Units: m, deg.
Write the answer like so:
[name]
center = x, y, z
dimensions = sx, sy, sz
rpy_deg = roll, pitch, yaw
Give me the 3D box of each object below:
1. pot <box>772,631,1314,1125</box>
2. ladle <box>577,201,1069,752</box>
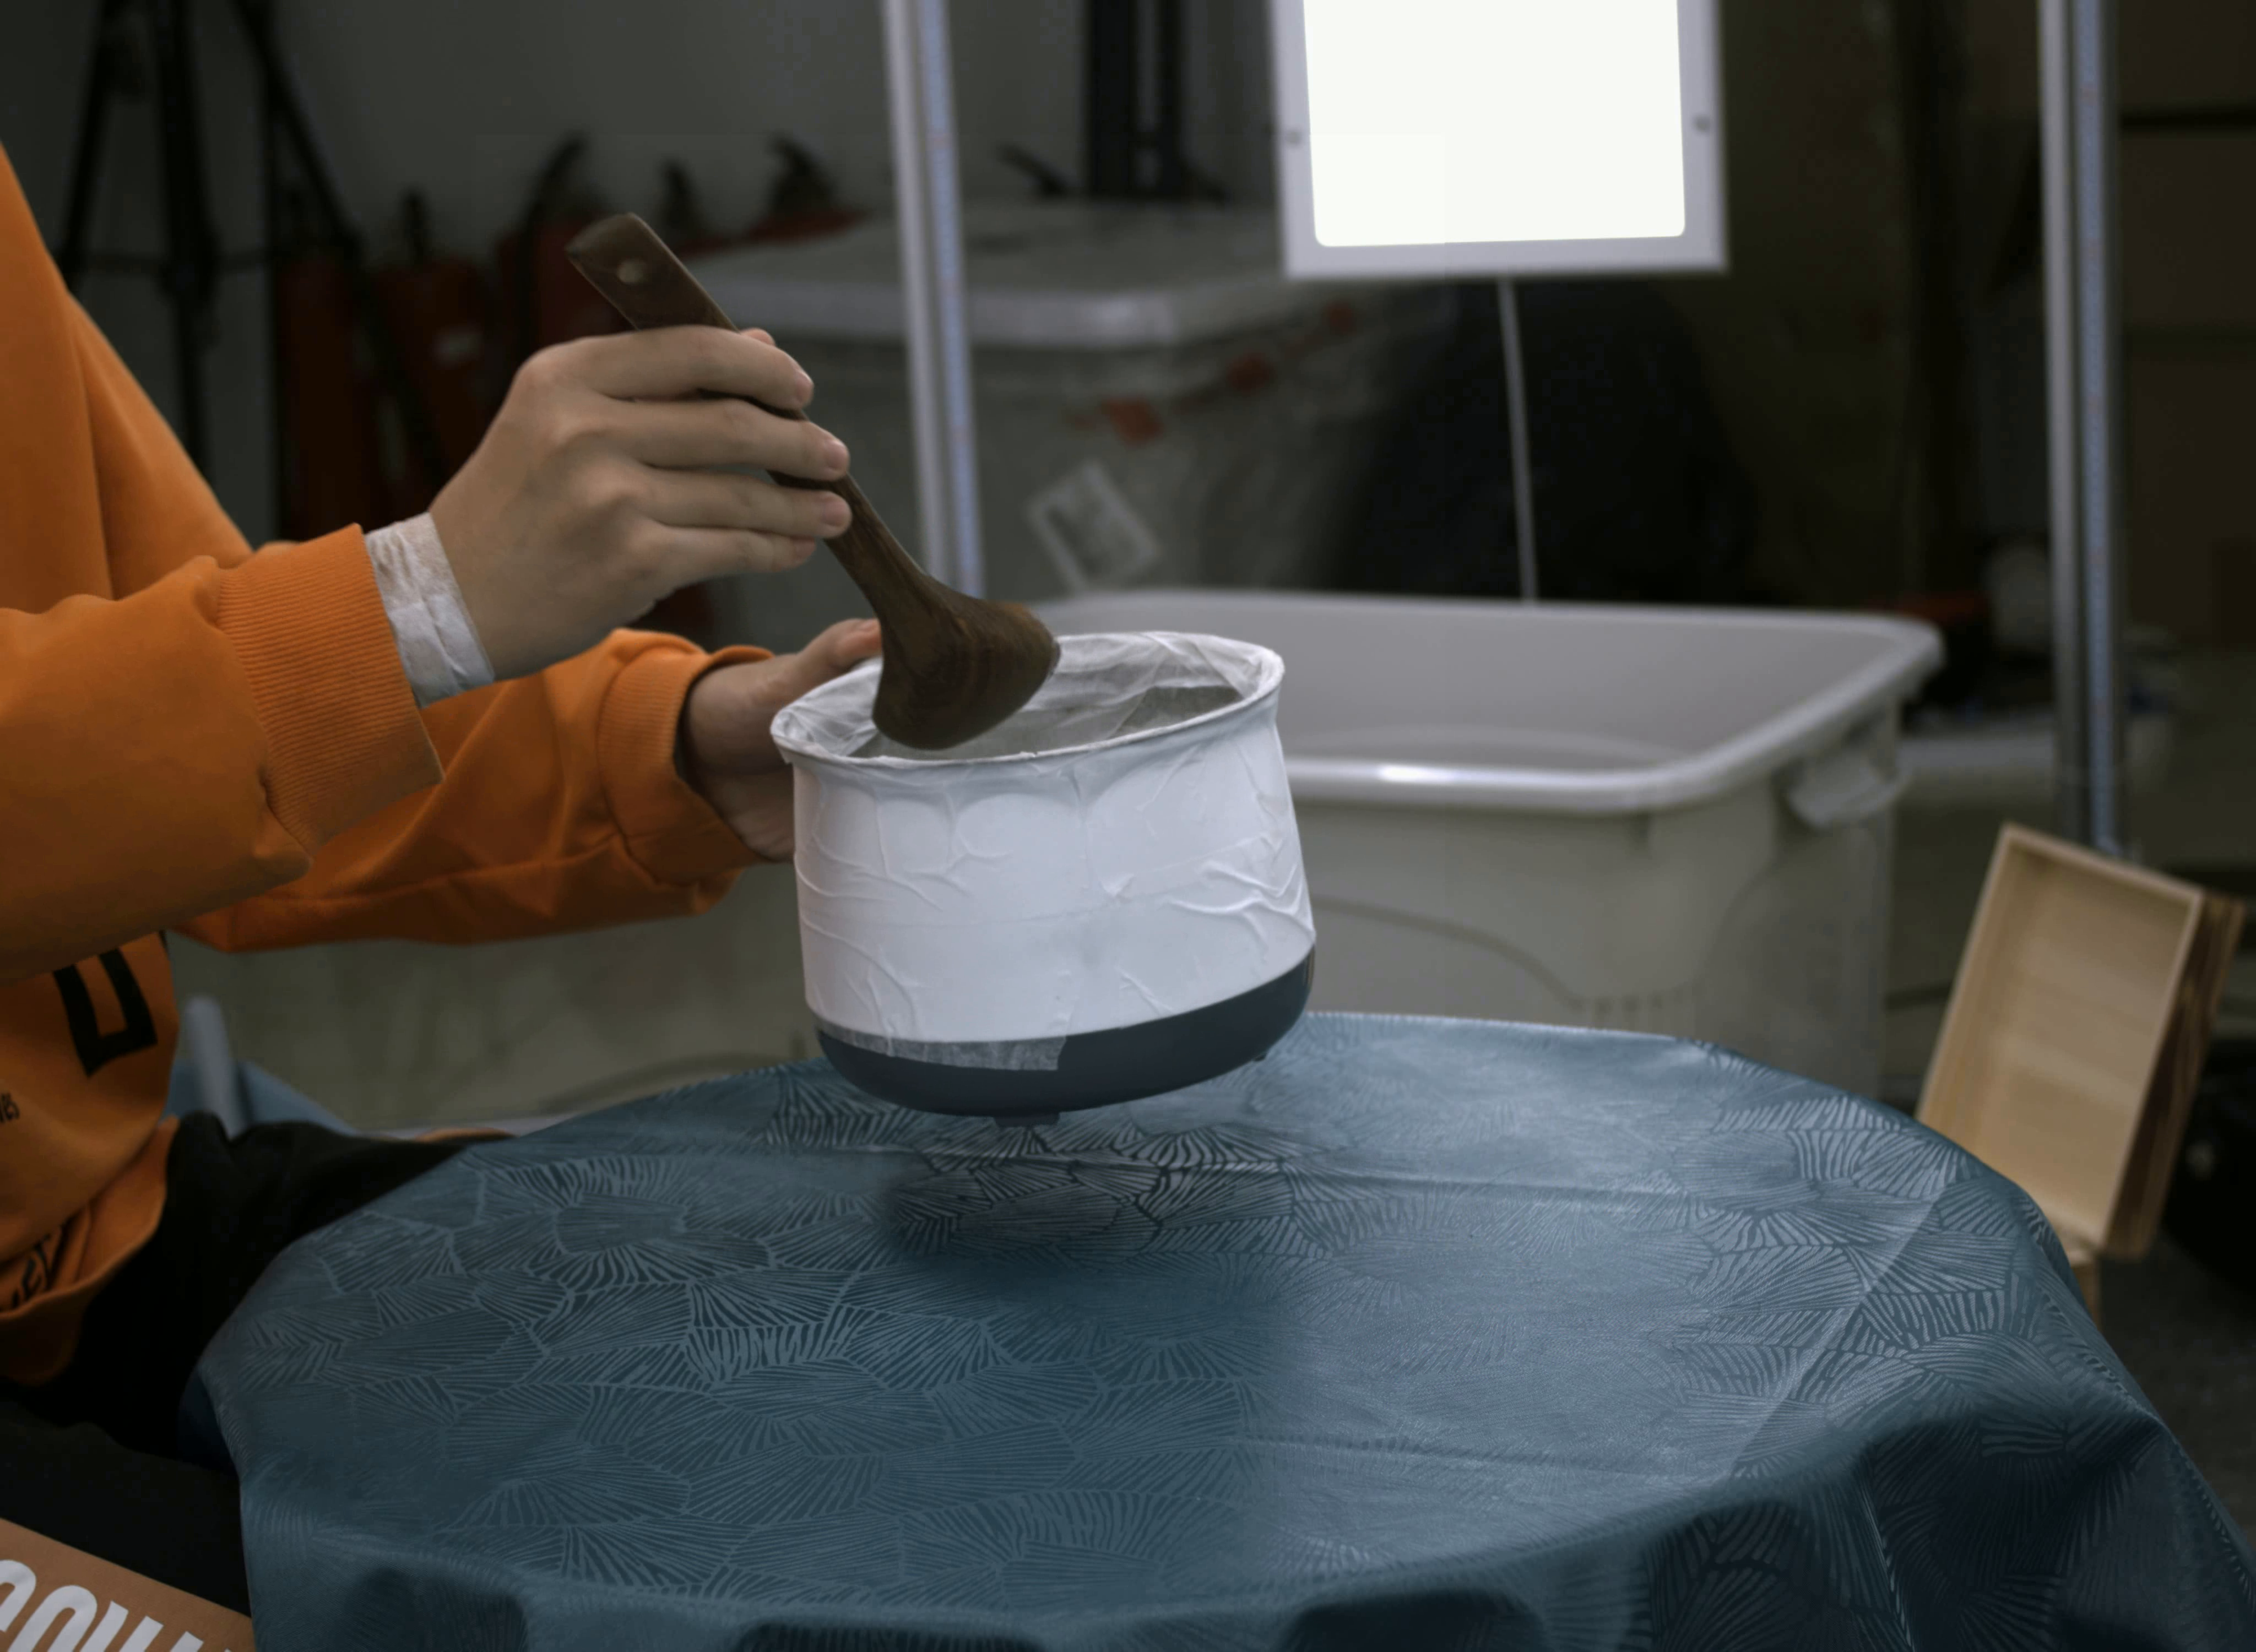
[pot]
center = -0.043, 0.012, 1.907
dimensions = 0.174, 0.137, 0.238
rpy_deg = -15, 16, -31
[ladle]
center = -0.105, -0.120, 1.812
dimensions = 0.076, 0.271, 0.072
rpy_deg = -37, 37, 3
